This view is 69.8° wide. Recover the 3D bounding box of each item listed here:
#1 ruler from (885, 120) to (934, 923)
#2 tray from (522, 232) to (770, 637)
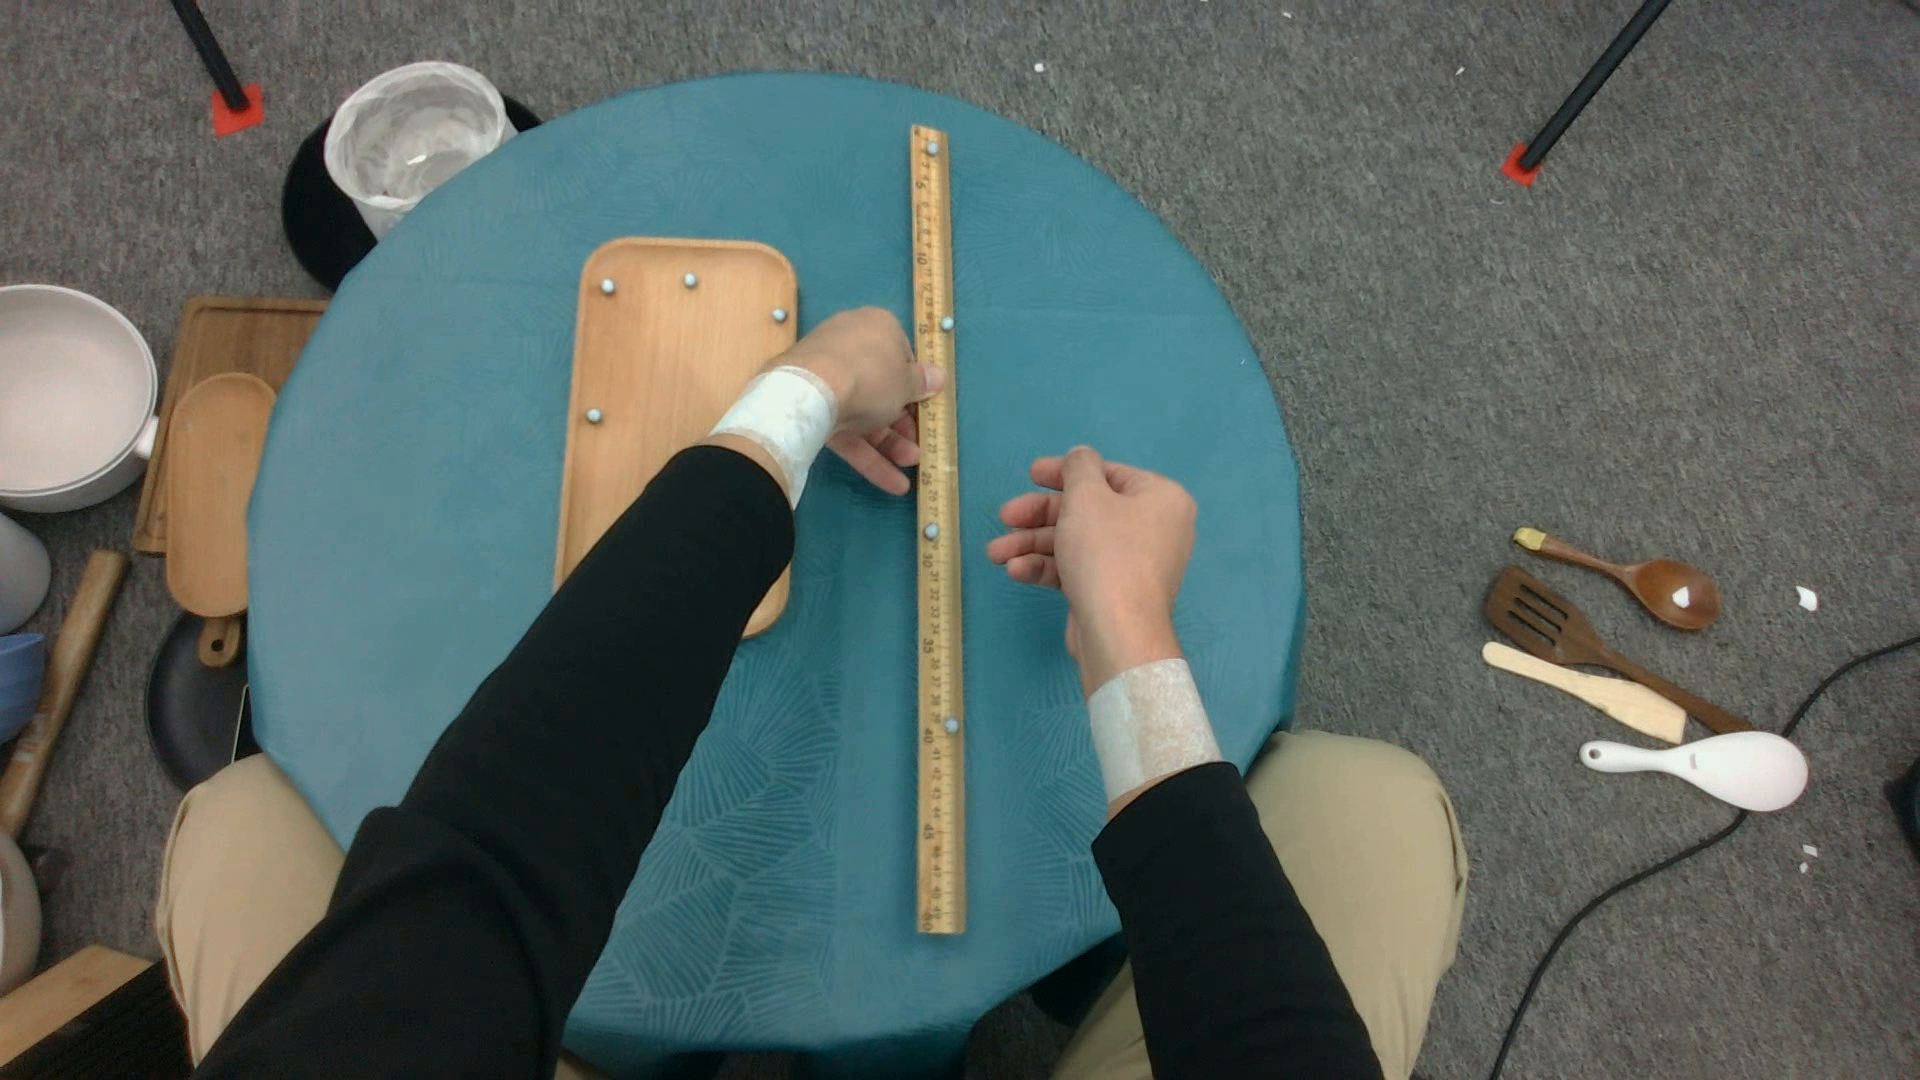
[{"bbox_3d":[-0.030,-0.038,0.789,0.027,0.006,0.502,10,64,-24],"label":"ruler"},{"bbox_3d":[-0.176,-0.064,0.790,0.130,0.023,0.251,1,70,-4],"label":"tray"}]
